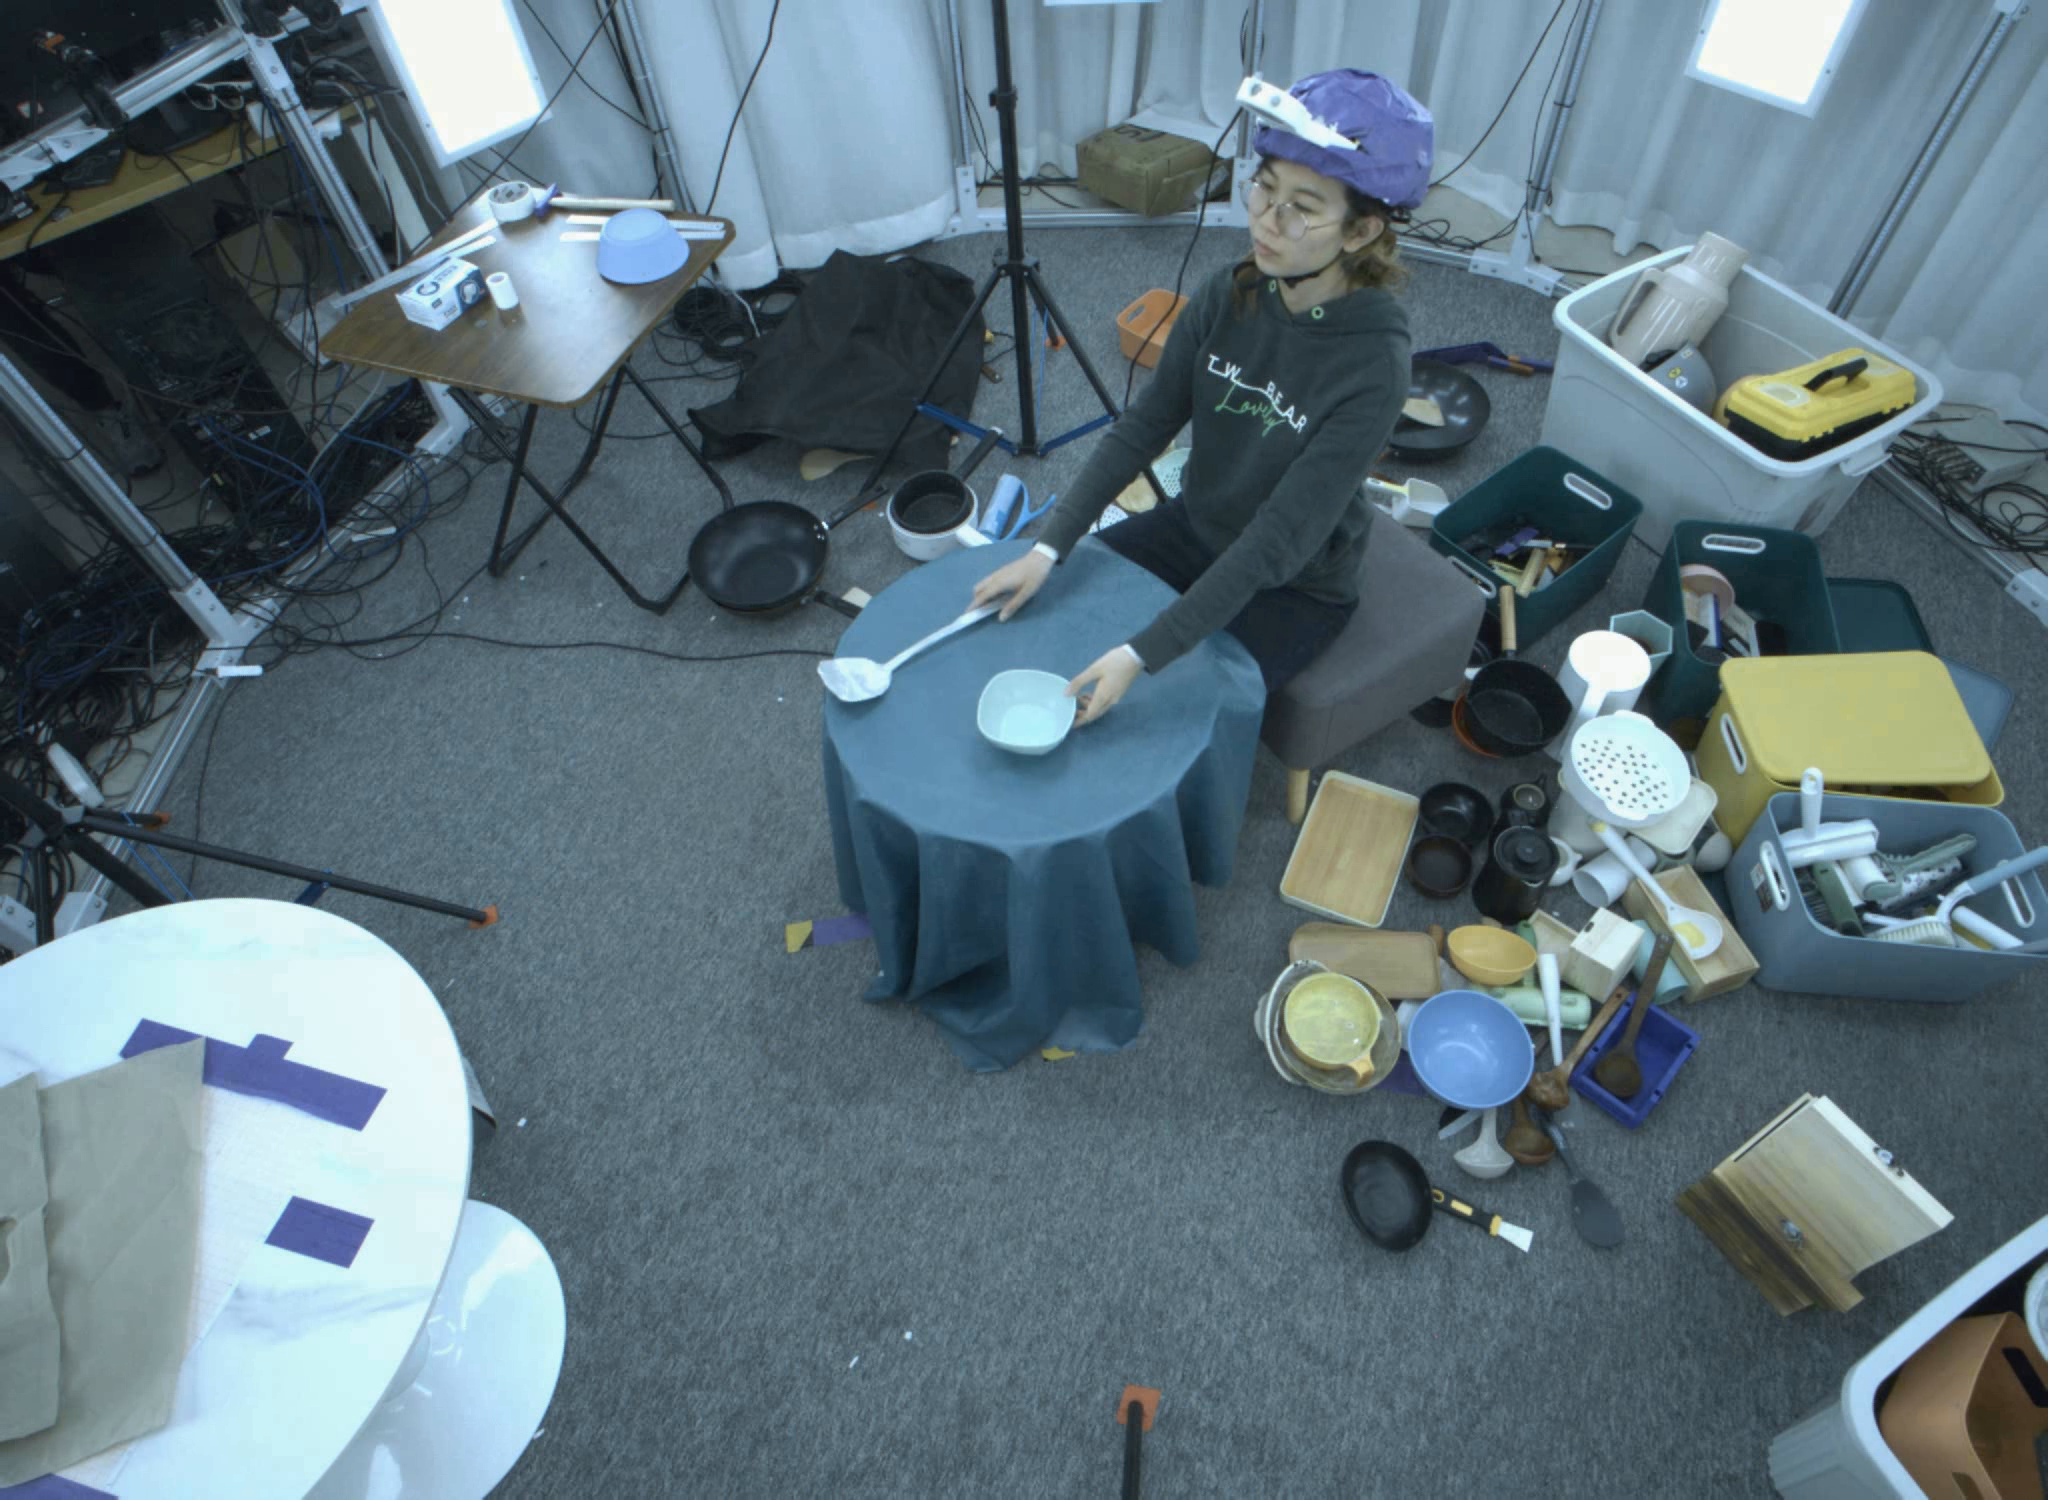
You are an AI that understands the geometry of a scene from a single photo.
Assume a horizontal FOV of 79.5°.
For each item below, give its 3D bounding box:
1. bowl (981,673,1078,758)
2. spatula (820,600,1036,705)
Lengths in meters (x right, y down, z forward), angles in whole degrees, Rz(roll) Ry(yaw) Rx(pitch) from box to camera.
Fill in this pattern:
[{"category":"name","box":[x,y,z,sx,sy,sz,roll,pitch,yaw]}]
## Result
[{"category":"bowl","box":[0.009,-0.040,1.794,0.151,0.059,0.150,0,57,1]},{"category":"spatula","box":[-0.141,-0.166,1.895,0.368,0.045,0.097,-30,57,-18]}]
